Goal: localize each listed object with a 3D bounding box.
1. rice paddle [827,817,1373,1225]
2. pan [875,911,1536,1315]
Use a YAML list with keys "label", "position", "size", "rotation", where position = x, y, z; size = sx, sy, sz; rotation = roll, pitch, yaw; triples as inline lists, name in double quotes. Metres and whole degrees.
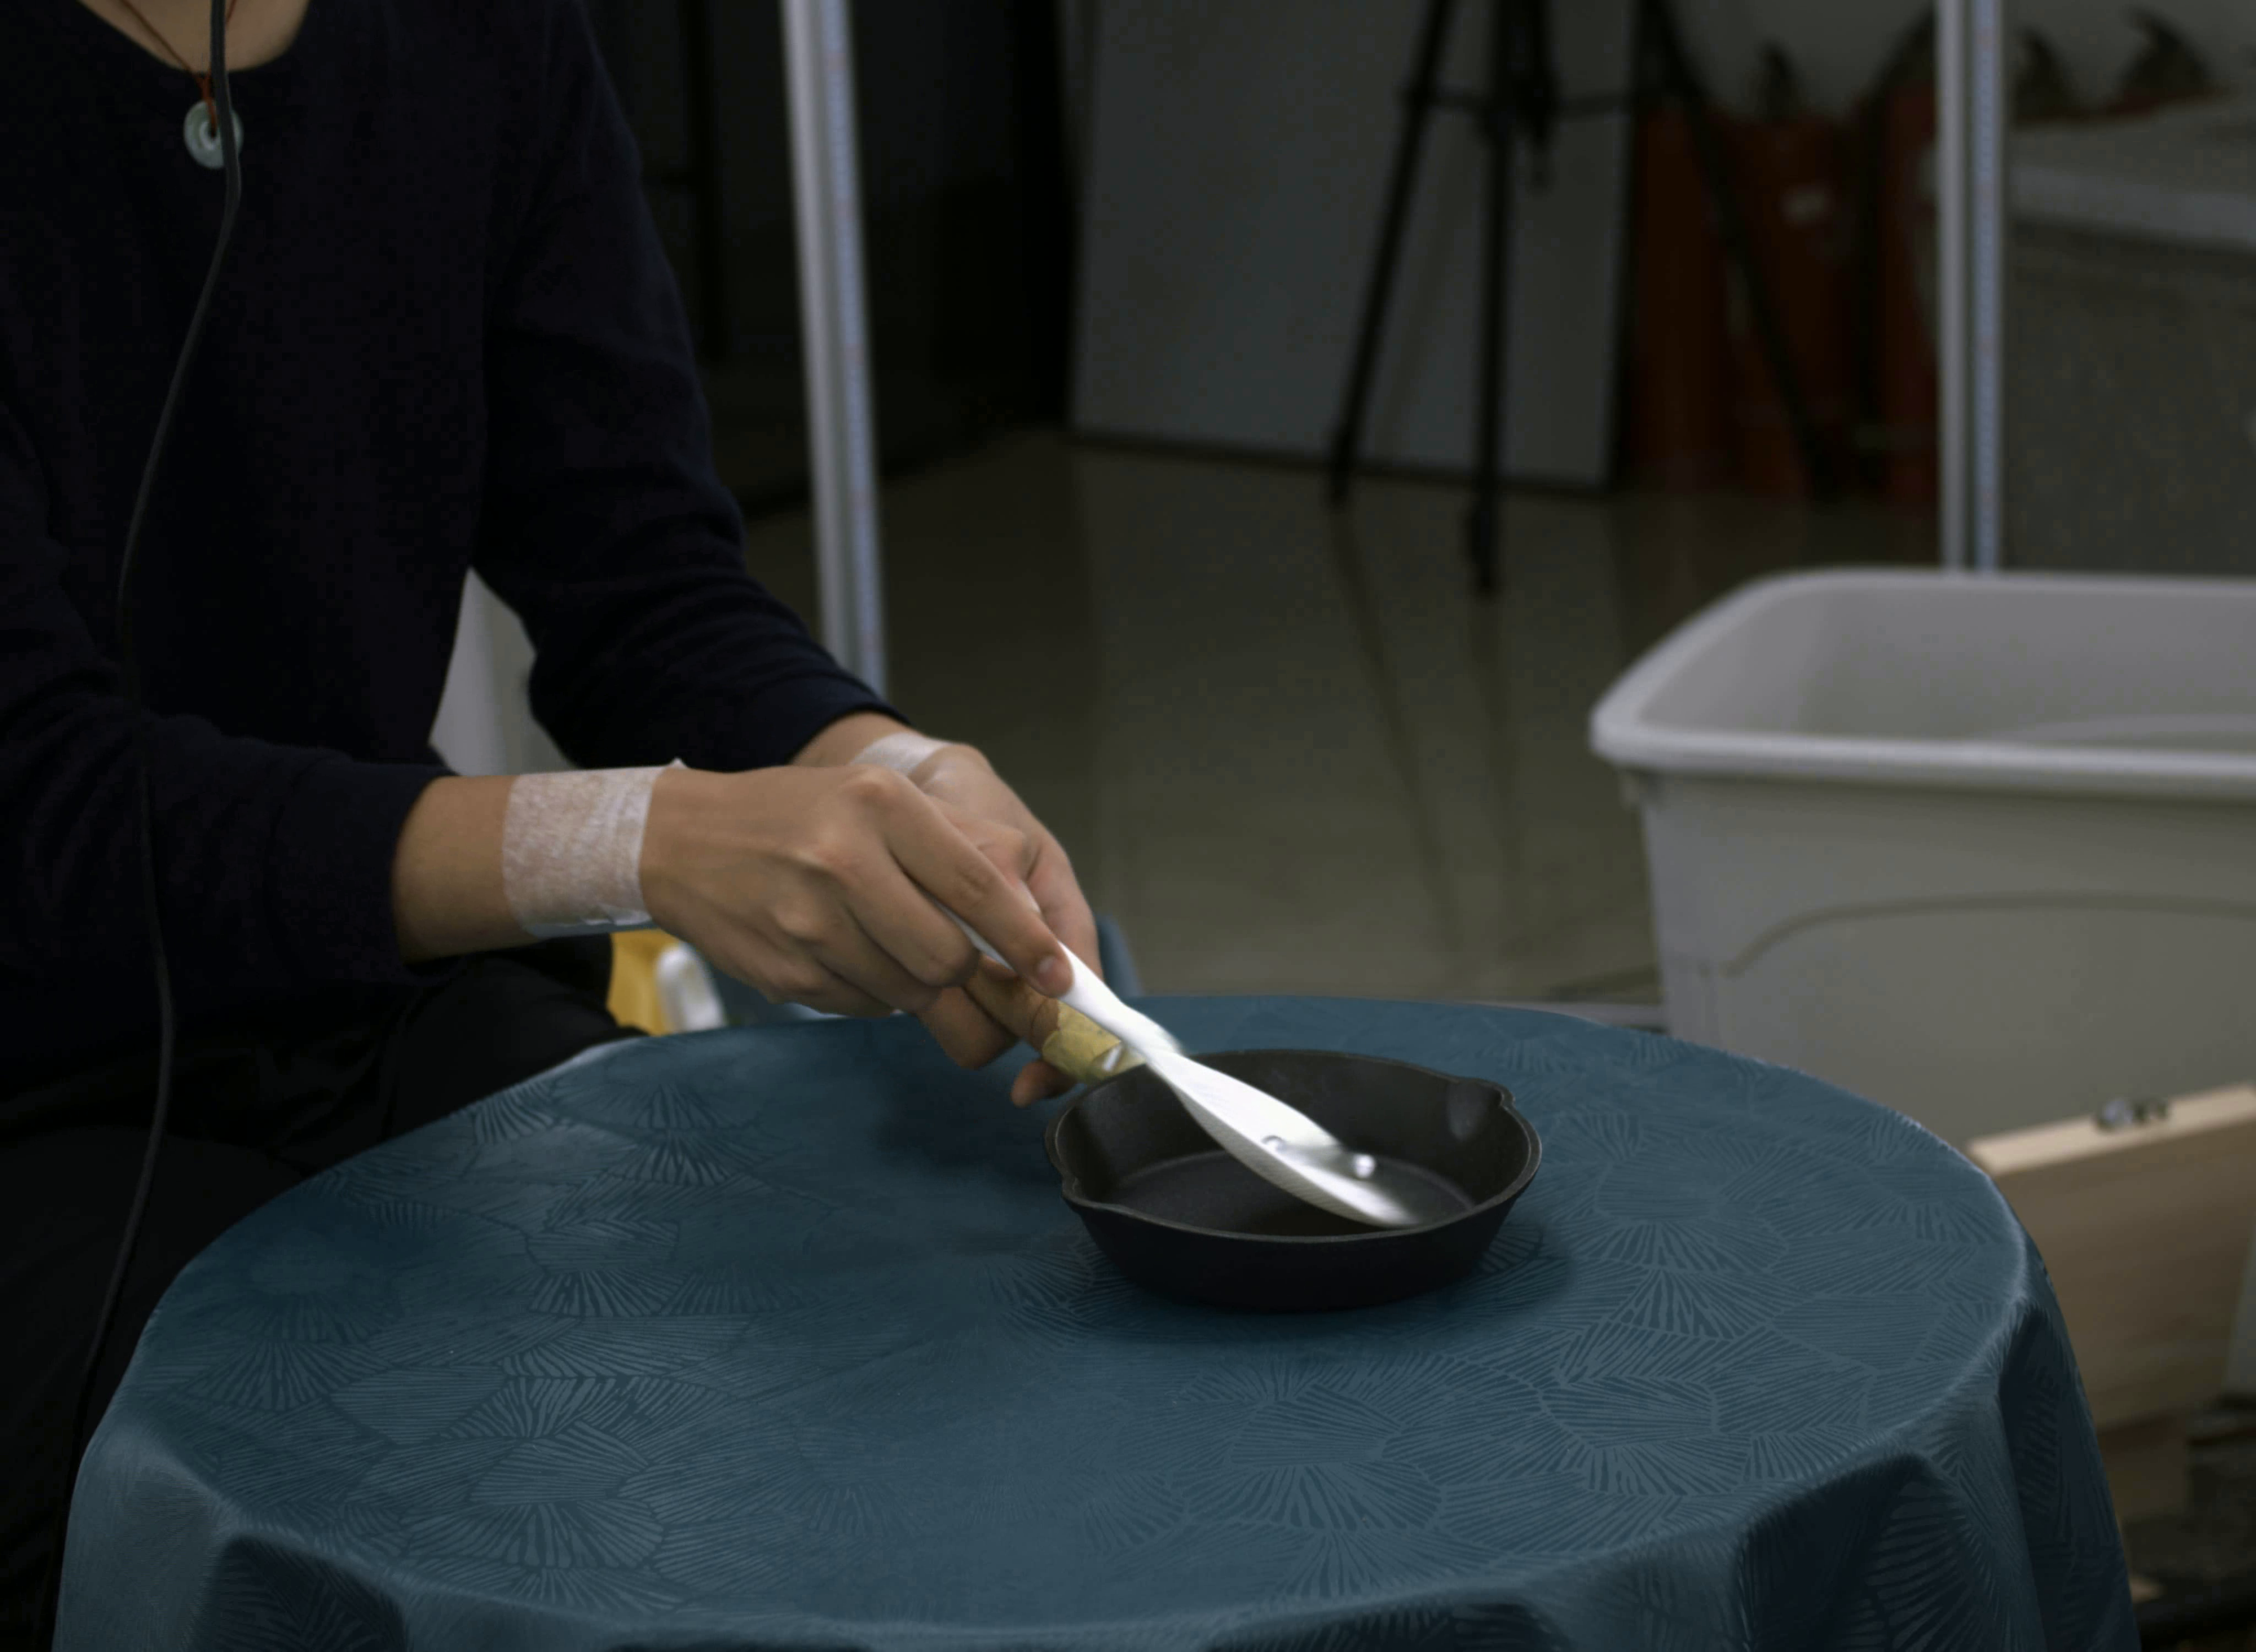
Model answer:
- label: "rice paddle"
  position: [-0.004, 0.066, 1.713]
  size: [0.205, 0.029, 0.068]
  rotation: [34, 12, 8]
- label: "pan"
  position: [0.006, 0.082, 1.760]
  size: [0.165, 0.050, 0.328]
  rotation: [-11, 23, -30]
